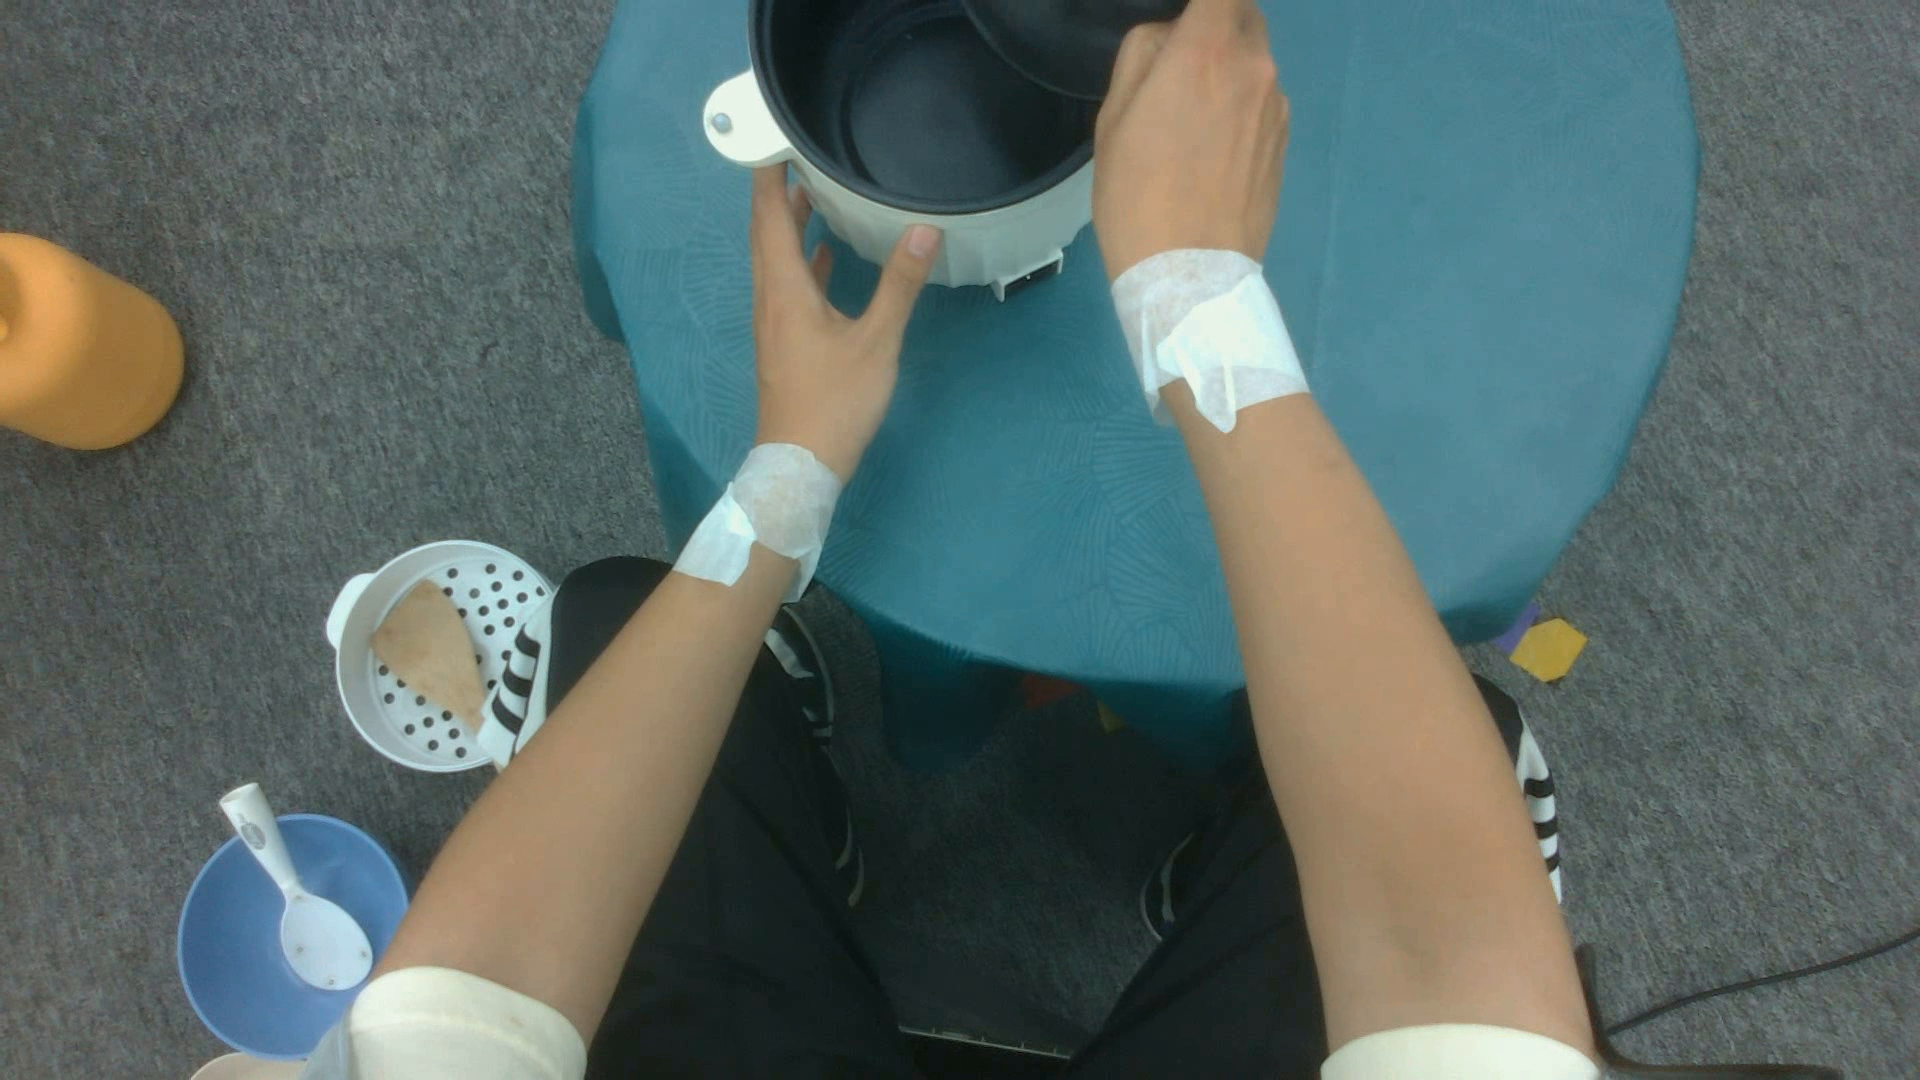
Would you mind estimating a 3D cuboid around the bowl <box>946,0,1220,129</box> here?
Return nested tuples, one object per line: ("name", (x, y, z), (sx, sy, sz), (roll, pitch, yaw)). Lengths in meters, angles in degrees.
("bowl", (0.055, -0.257, 0.591), (0.067, 0.137, 0.170), (-34, 59, -22))

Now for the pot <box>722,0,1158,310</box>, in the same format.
("pot", (-0.003, -0.222, 0.699), (0.240, 0.142, 0.190), (-27, 84, -3))
